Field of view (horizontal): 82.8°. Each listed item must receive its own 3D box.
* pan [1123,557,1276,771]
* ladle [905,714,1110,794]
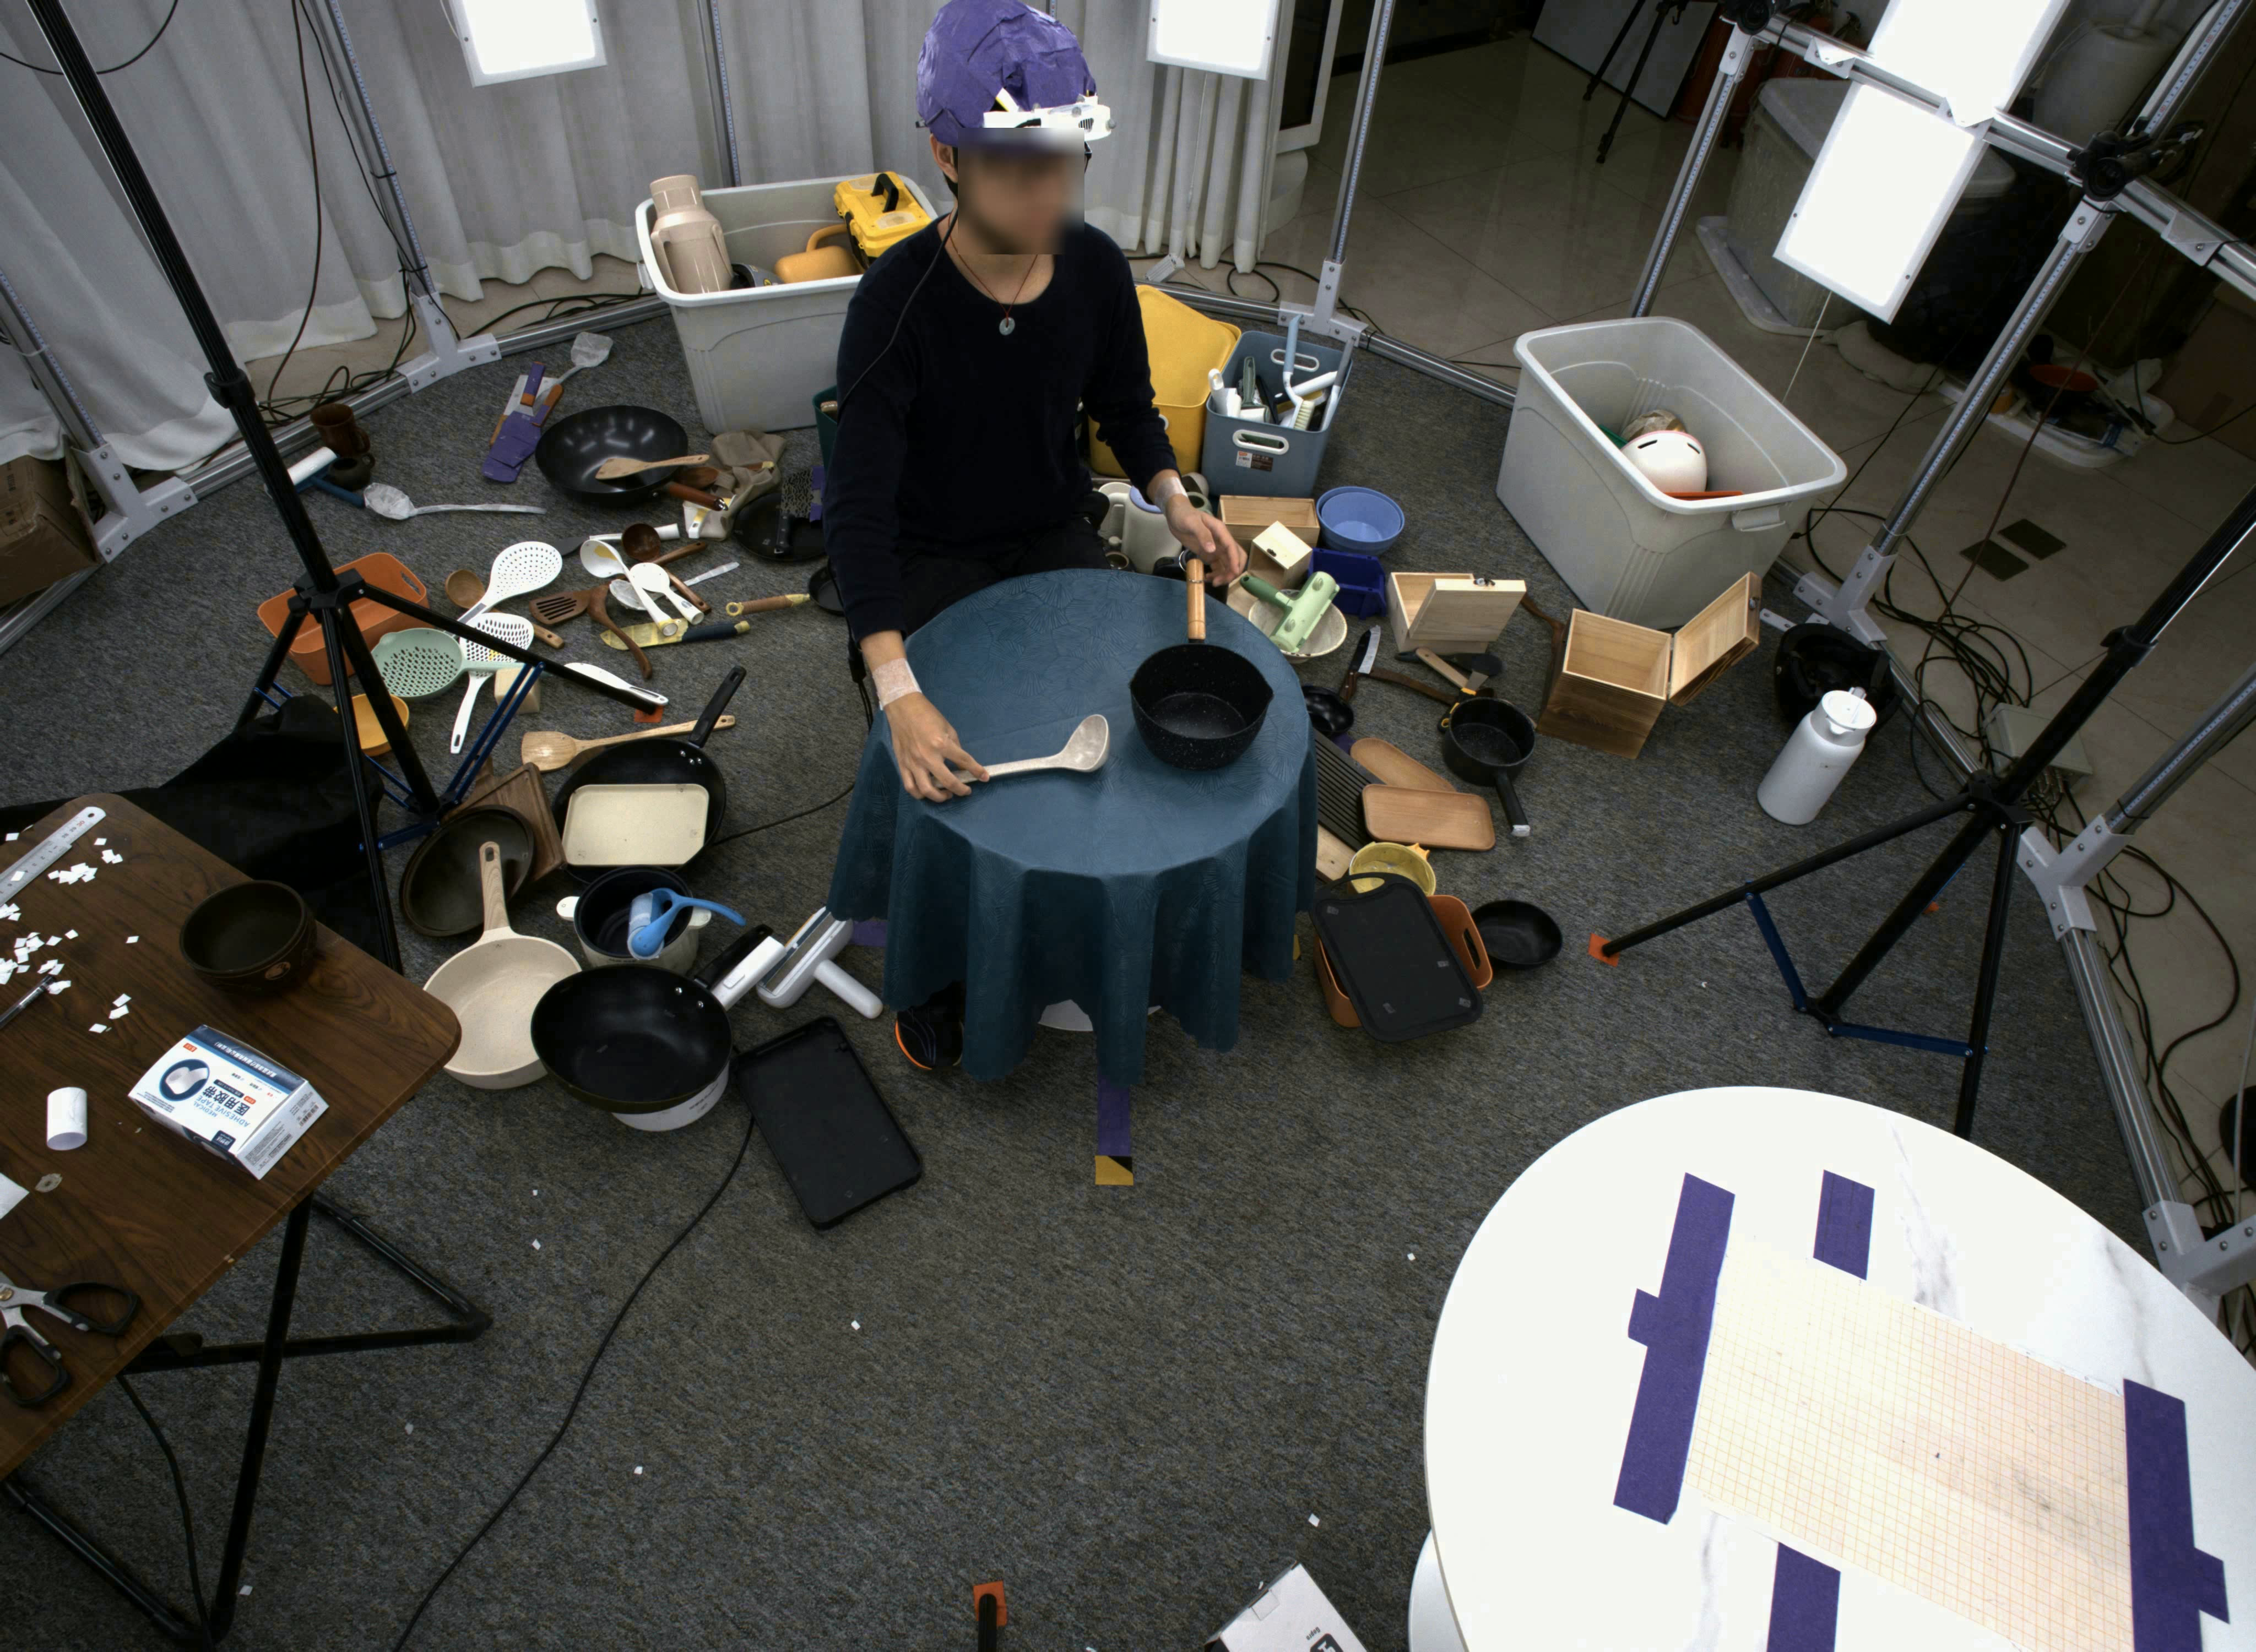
[{"bbox_3d":[0.094,-0.228,1.803,0.207,0.105,0.351,0,50,-2],"label":"pan"},{"bbox_3d":[-0.159,-0.092,1.696,0.274,0.068,0.091,-9,45,-11],"label":"ladle"}]
